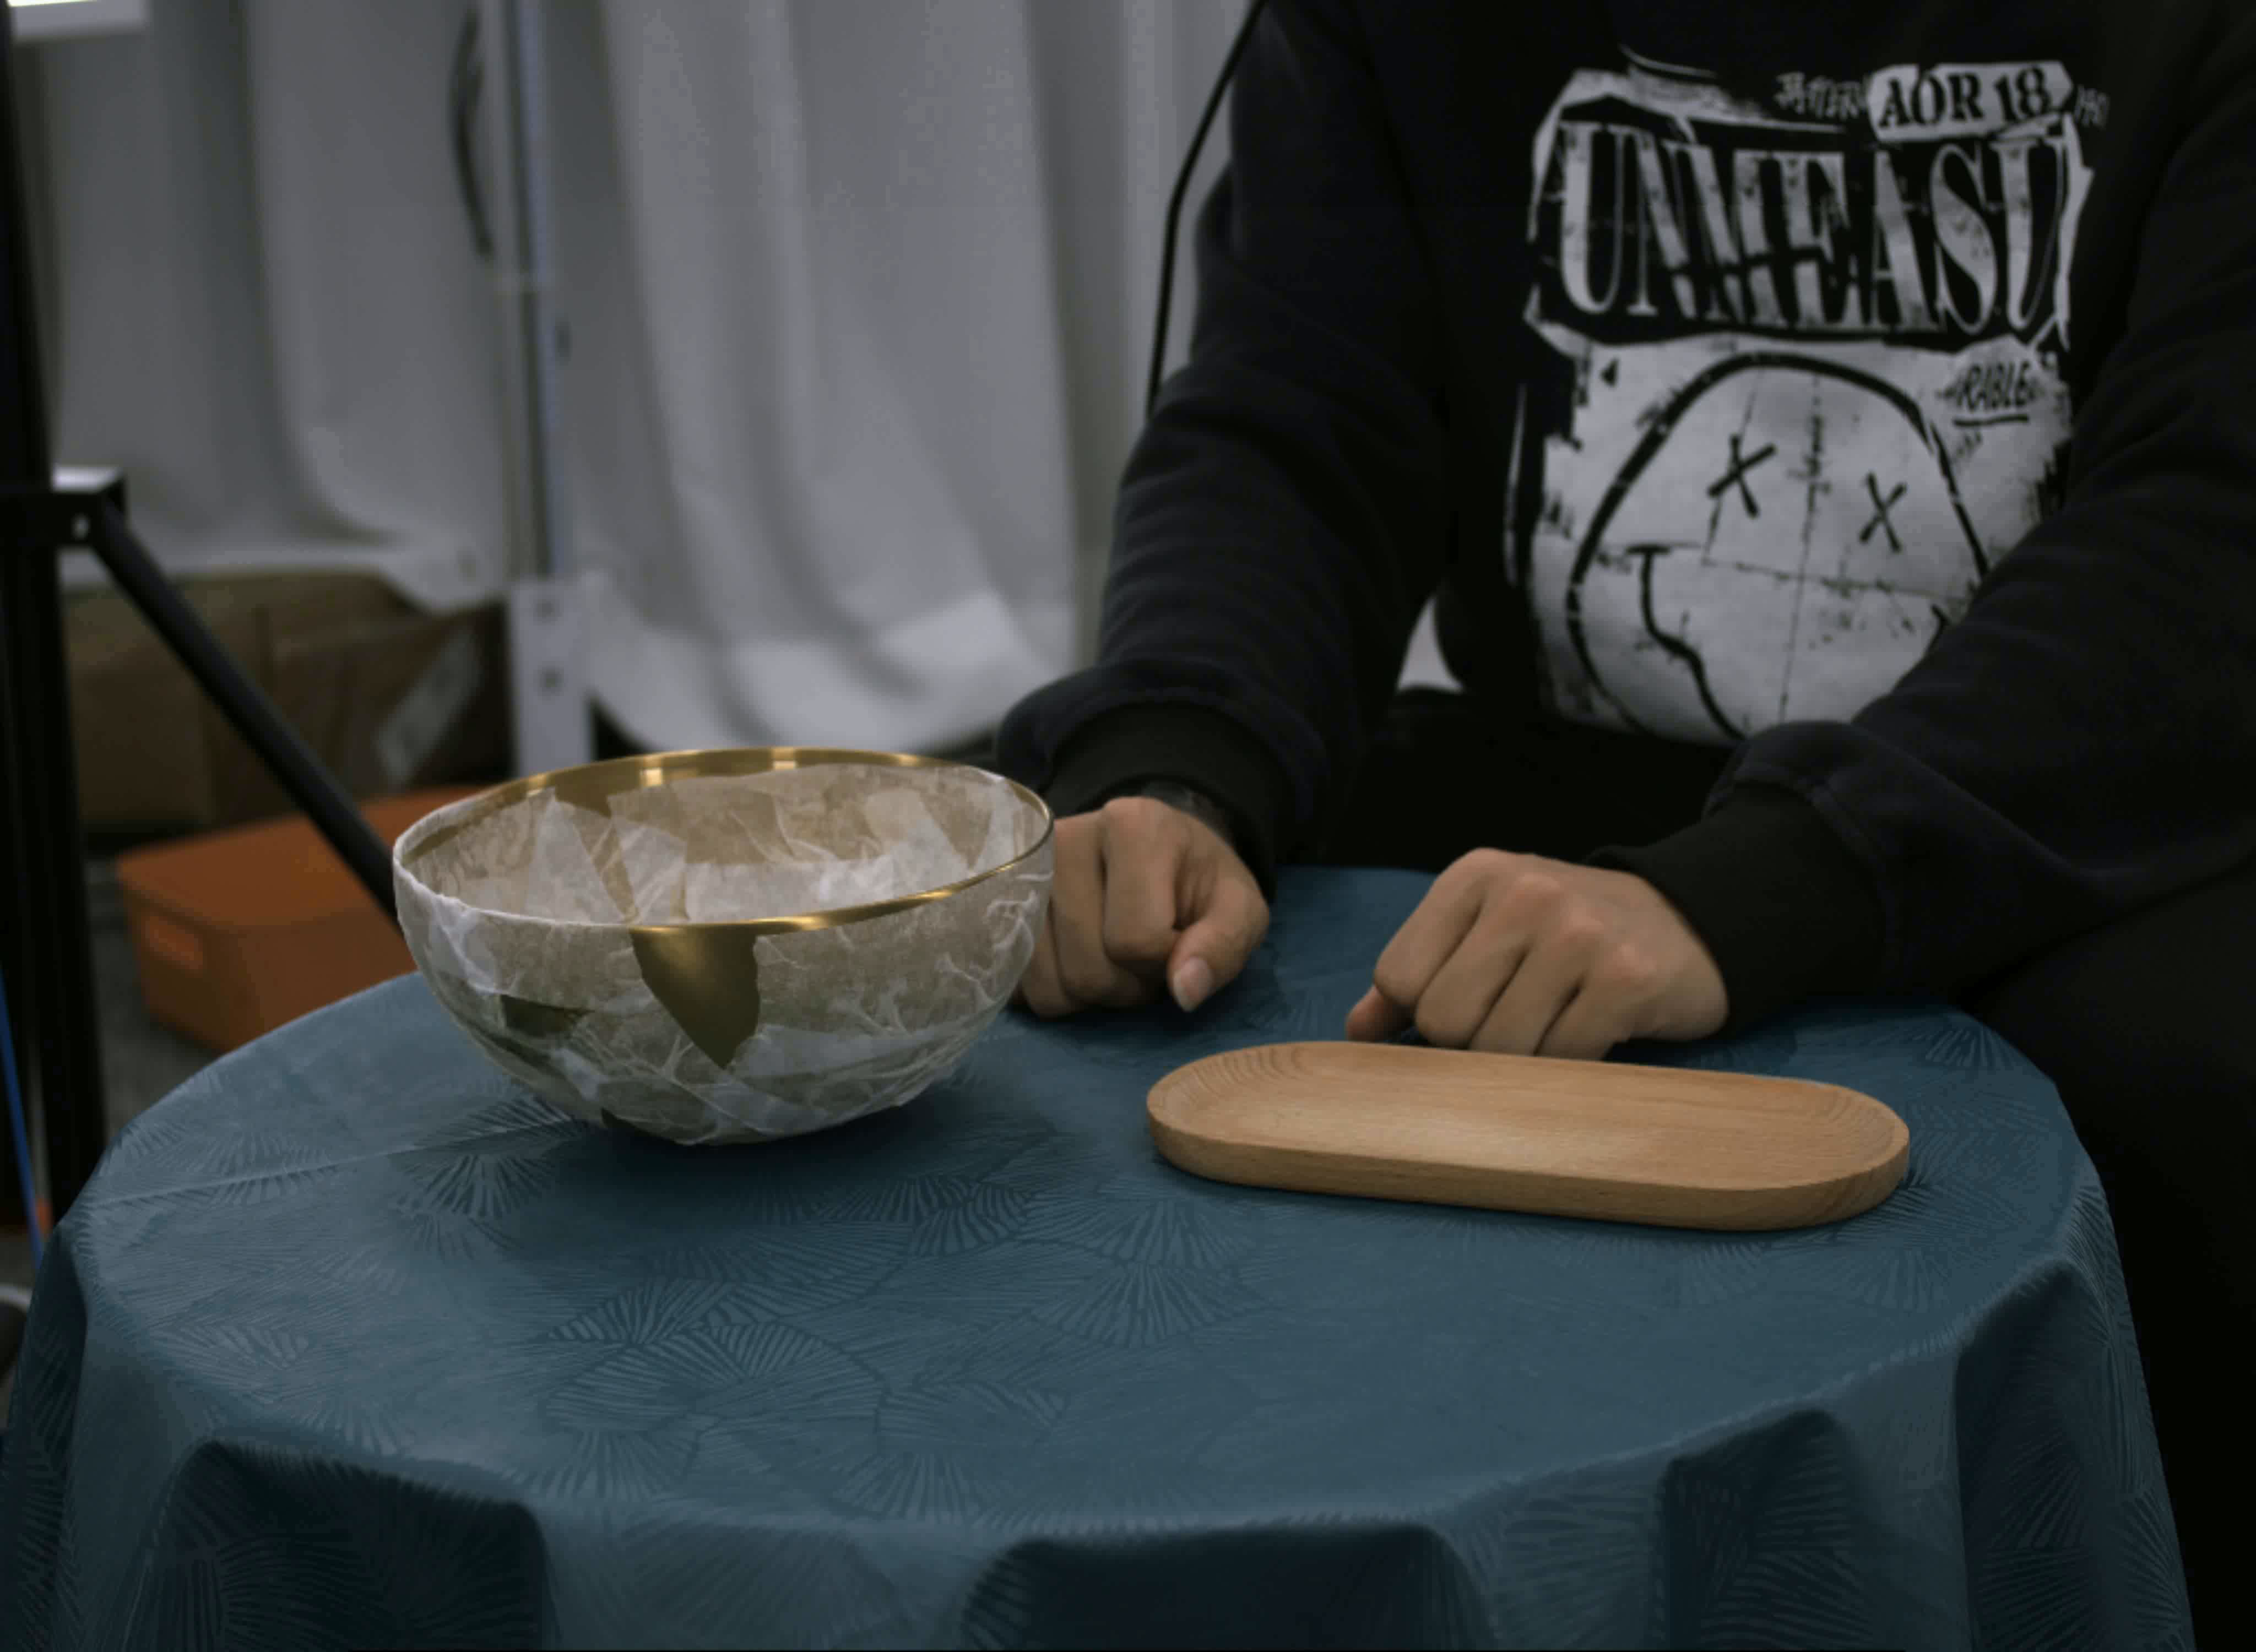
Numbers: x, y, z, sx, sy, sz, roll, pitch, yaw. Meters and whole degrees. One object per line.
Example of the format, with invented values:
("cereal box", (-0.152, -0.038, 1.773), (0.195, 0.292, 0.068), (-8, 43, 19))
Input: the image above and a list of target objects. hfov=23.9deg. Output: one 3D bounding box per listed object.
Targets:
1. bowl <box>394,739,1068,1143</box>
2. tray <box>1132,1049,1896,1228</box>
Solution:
("bowl", (-0.117, 0.044, 1.635), (0.213, 0.094, 0.216), (-3, 15, -1))
("tray", (0.113, 0.092, 1.566), (0.234, 0.020, 0.100), (2, 14, 23))
